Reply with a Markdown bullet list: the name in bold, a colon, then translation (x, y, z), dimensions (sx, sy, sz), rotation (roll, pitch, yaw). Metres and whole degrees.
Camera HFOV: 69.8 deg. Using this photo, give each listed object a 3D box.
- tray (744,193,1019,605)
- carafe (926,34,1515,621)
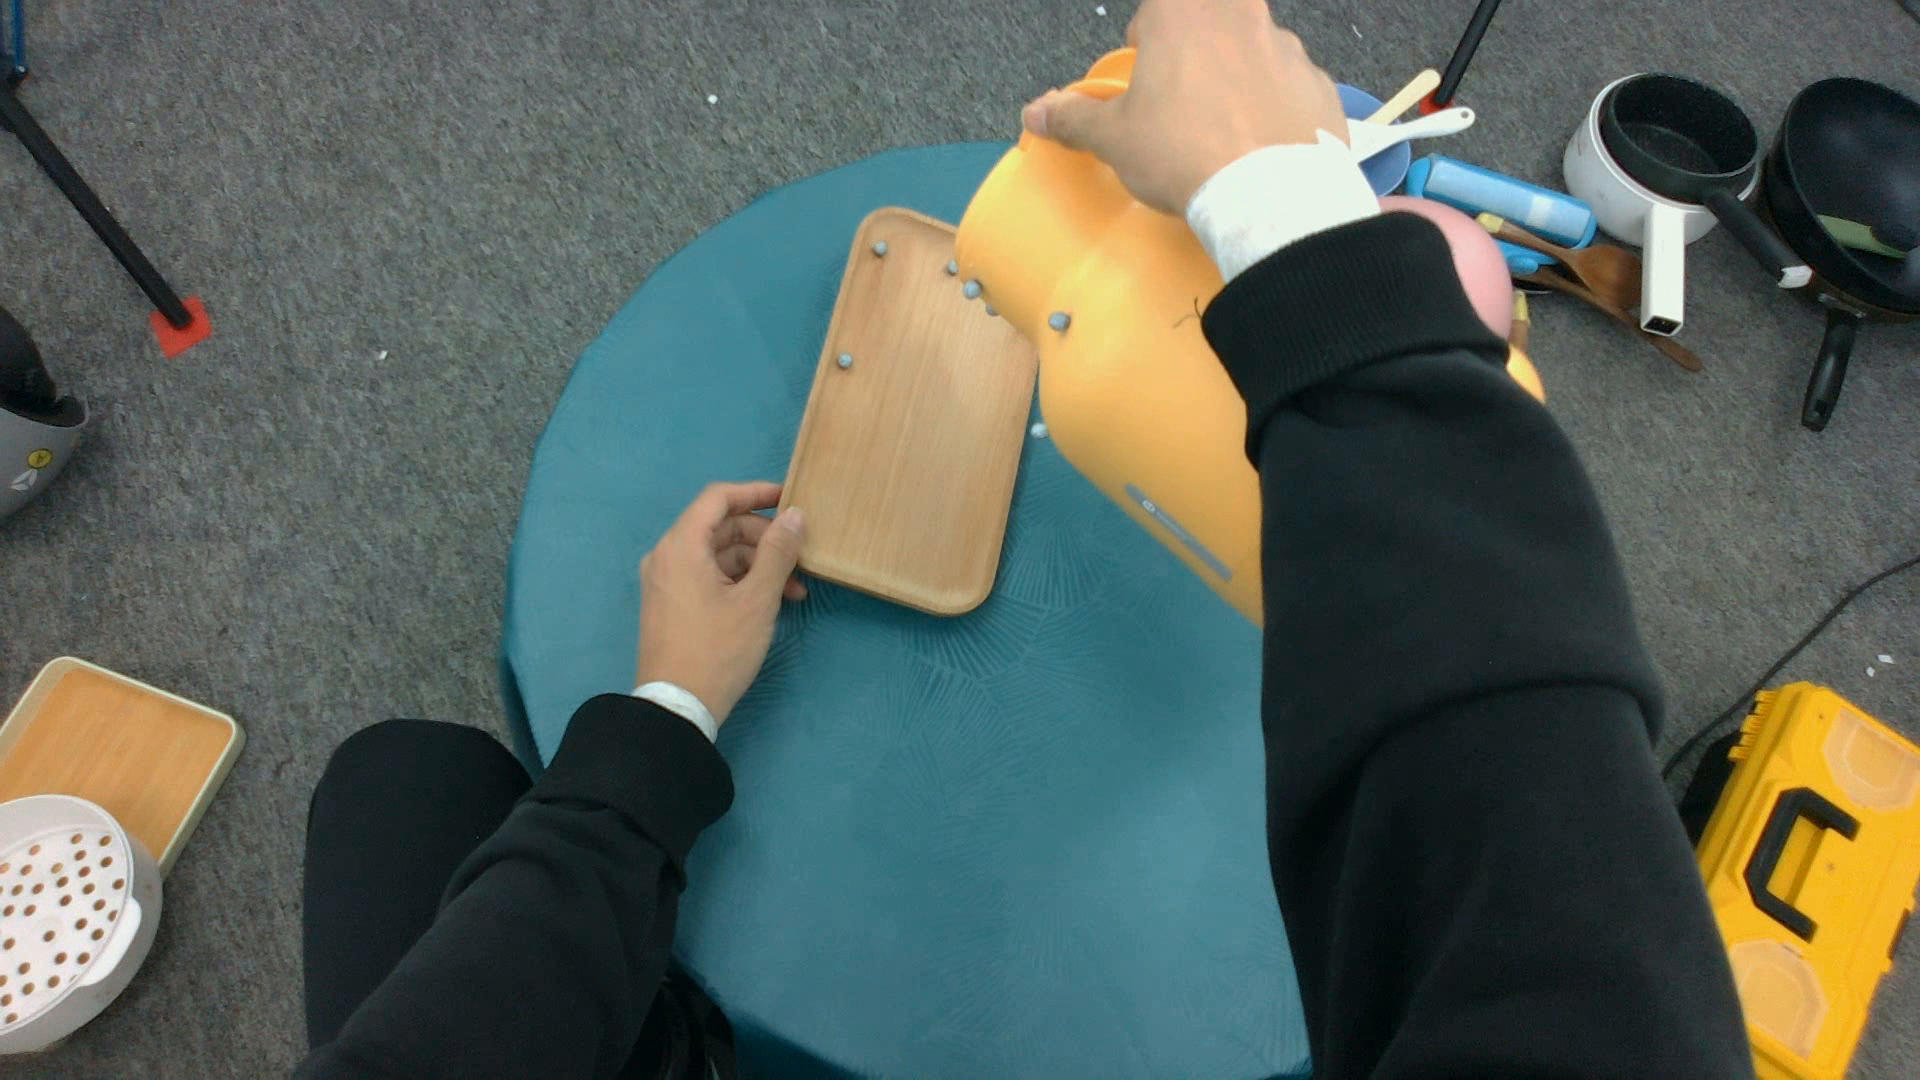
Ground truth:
- **tray**: translation (-0.038, -0.086, 0.797), dimensions (0.130, 0.023, 0.251), rotation (18, 64, -11)
- **carafe**: translation (0.108, -0.099, 0.609), dimensions (0.260, 0.201, 0.164), rotation (38, 68, 8)
